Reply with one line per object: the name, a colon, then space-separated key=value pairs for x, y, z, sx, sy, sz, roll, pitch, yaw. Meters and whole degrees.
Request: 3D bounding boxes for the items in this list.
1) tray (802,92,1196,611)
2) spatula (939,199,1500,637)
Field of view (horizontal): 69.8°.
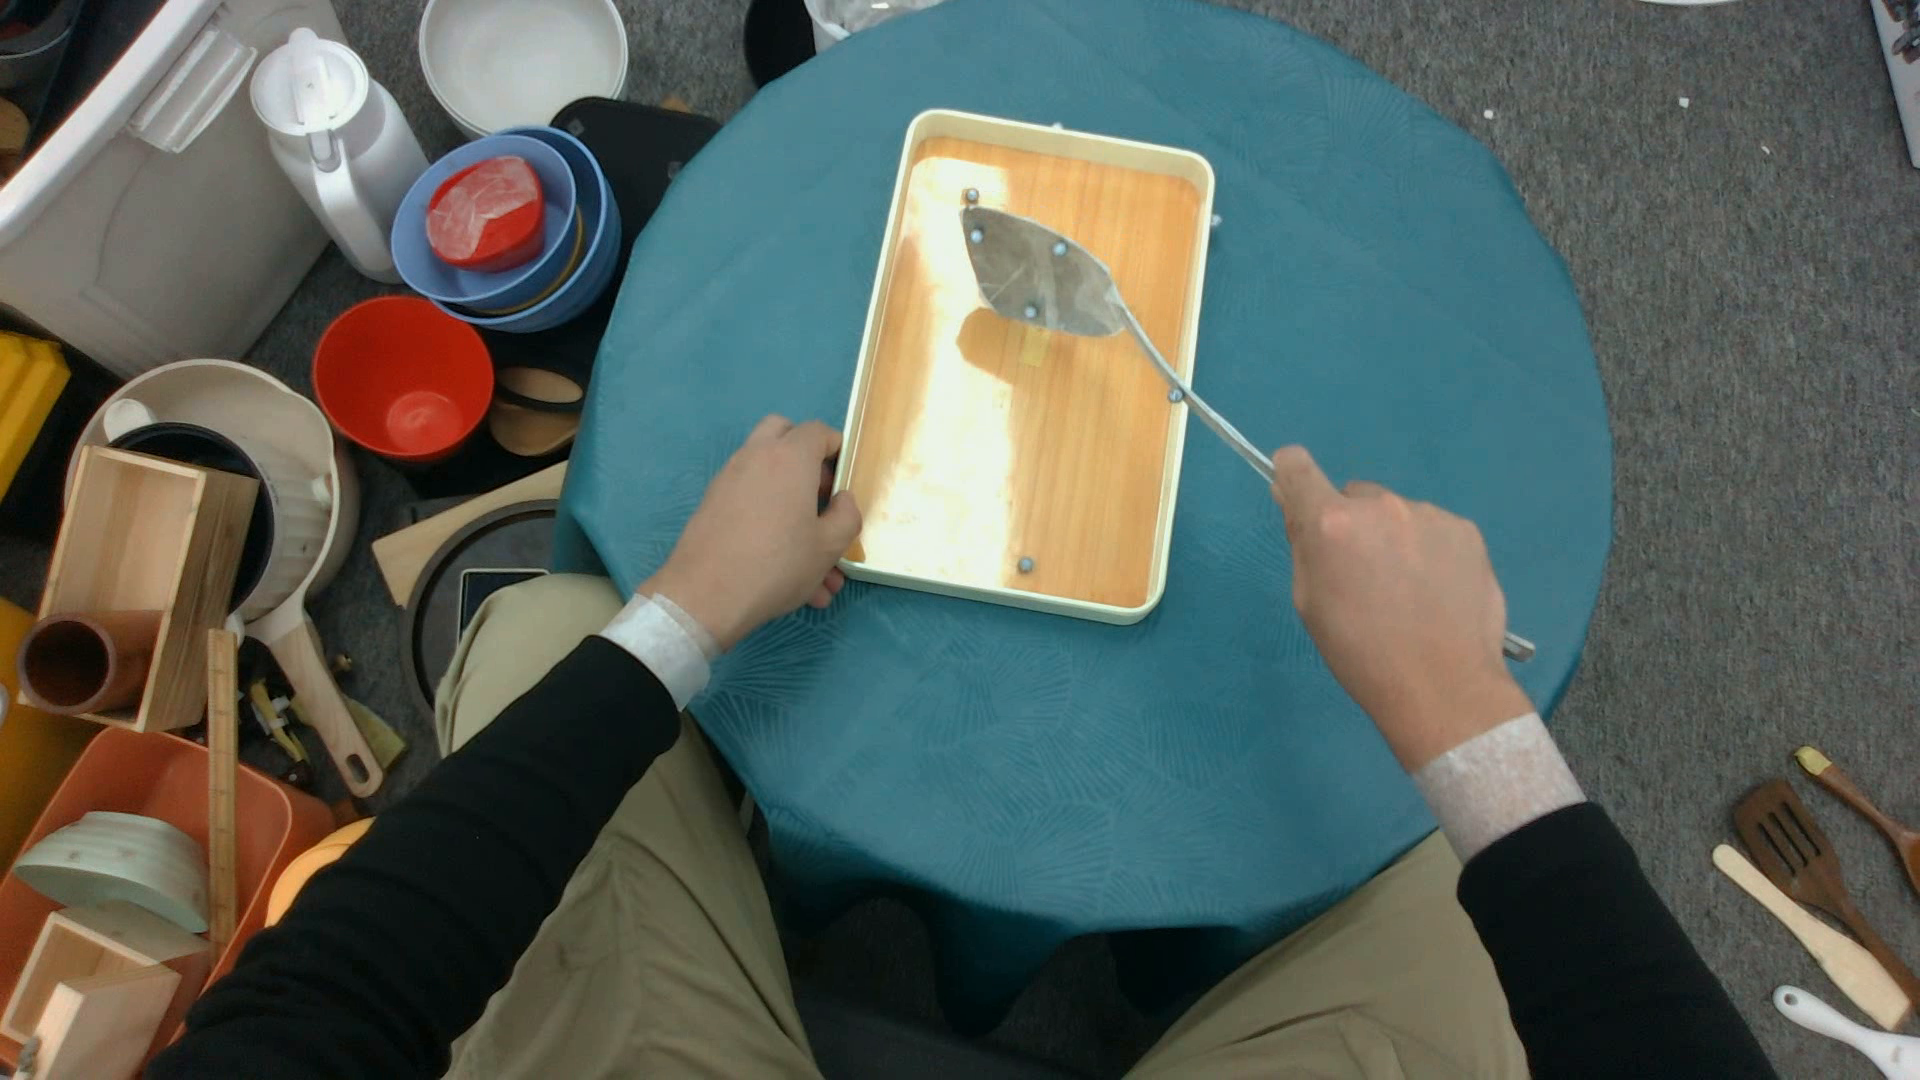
tray: x=0.028 y=-0.116 z=0.802 sx=0.191 sy=0.027 sz=0.301 roll=10 pitch=71 yaw=0
spatula: x=0.119 y=-0.064 z=0.705 sx=0.045 sy=0.098 sz=0.365 roll=-38 pitch=62 yaw=-11
